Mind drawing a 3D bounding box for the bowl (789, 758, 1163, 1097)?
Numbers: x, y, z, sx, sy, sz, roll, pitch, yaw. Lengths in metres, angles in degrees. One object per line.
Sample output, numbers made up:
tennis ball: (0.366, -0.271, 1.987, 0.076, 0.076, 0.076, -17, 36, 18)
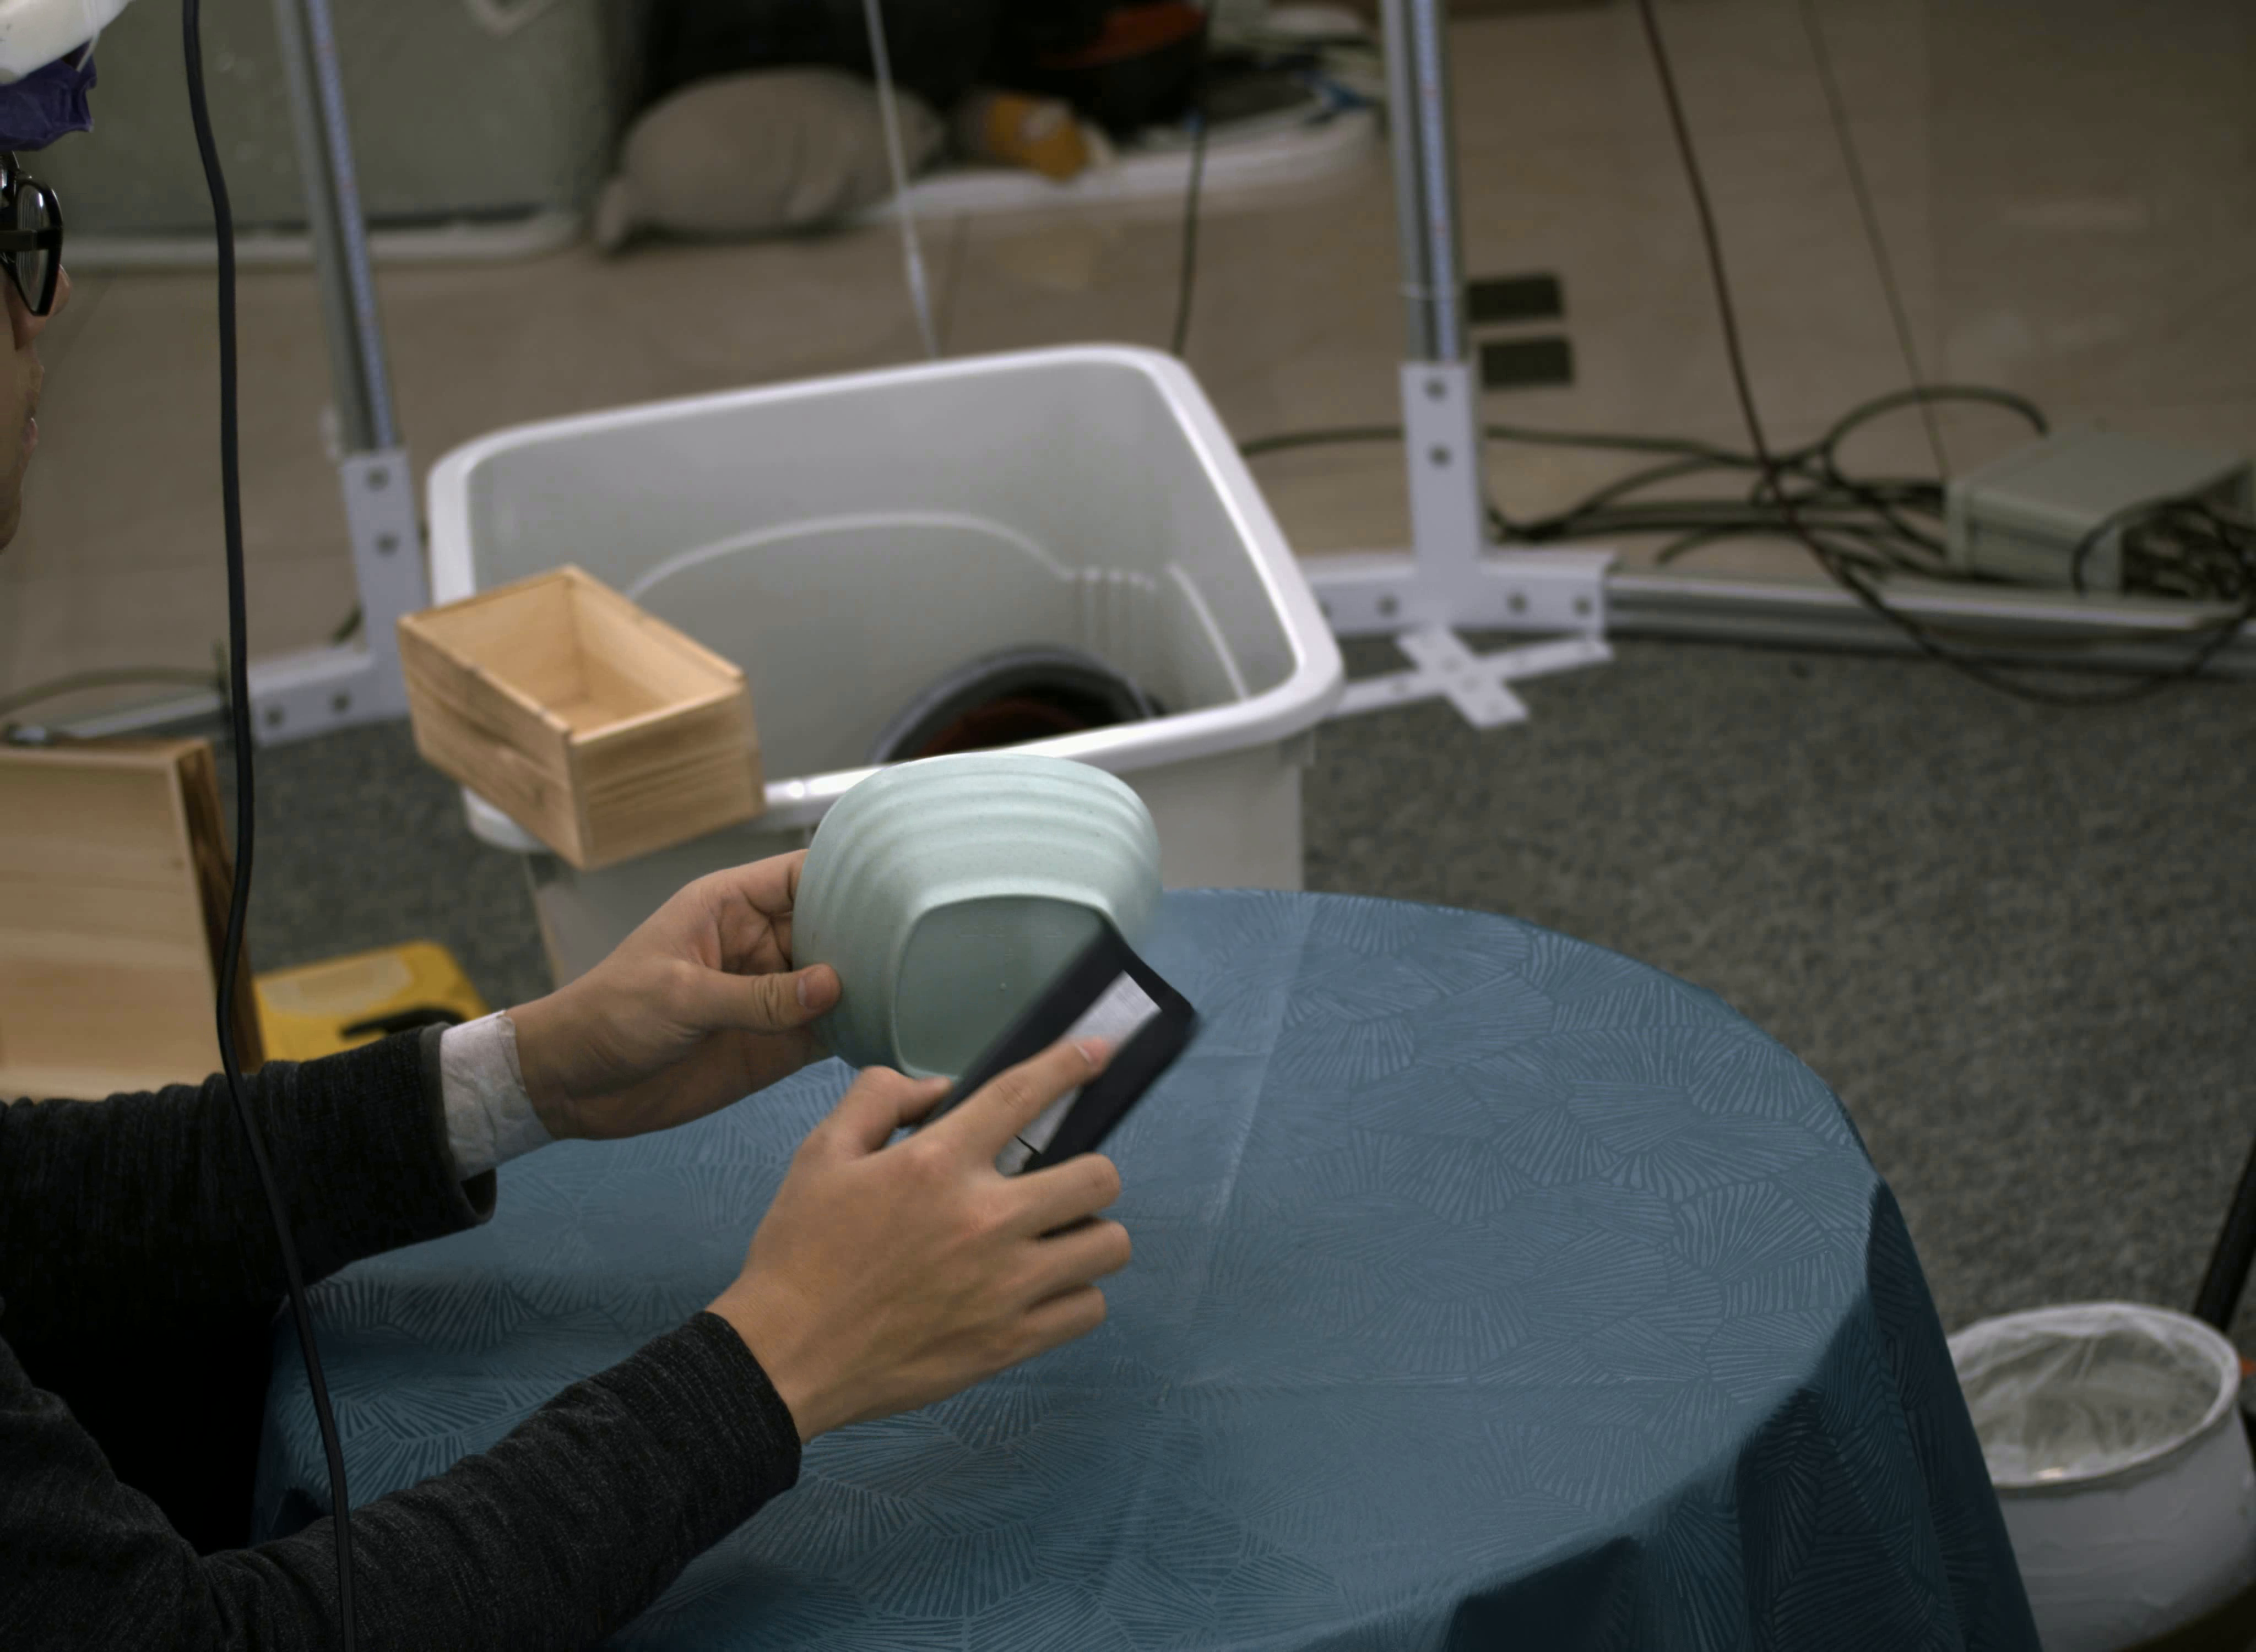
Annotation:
bowl: (-0.051, 0.048, 2.071, 0.151, 0.154, 0.057, -9, 33, -6)

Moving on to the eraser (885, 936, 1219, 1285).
eraser: (-0.027, 0.098, 1.971, 0.053, 0.031, 0.124, 41, 66, 4)
